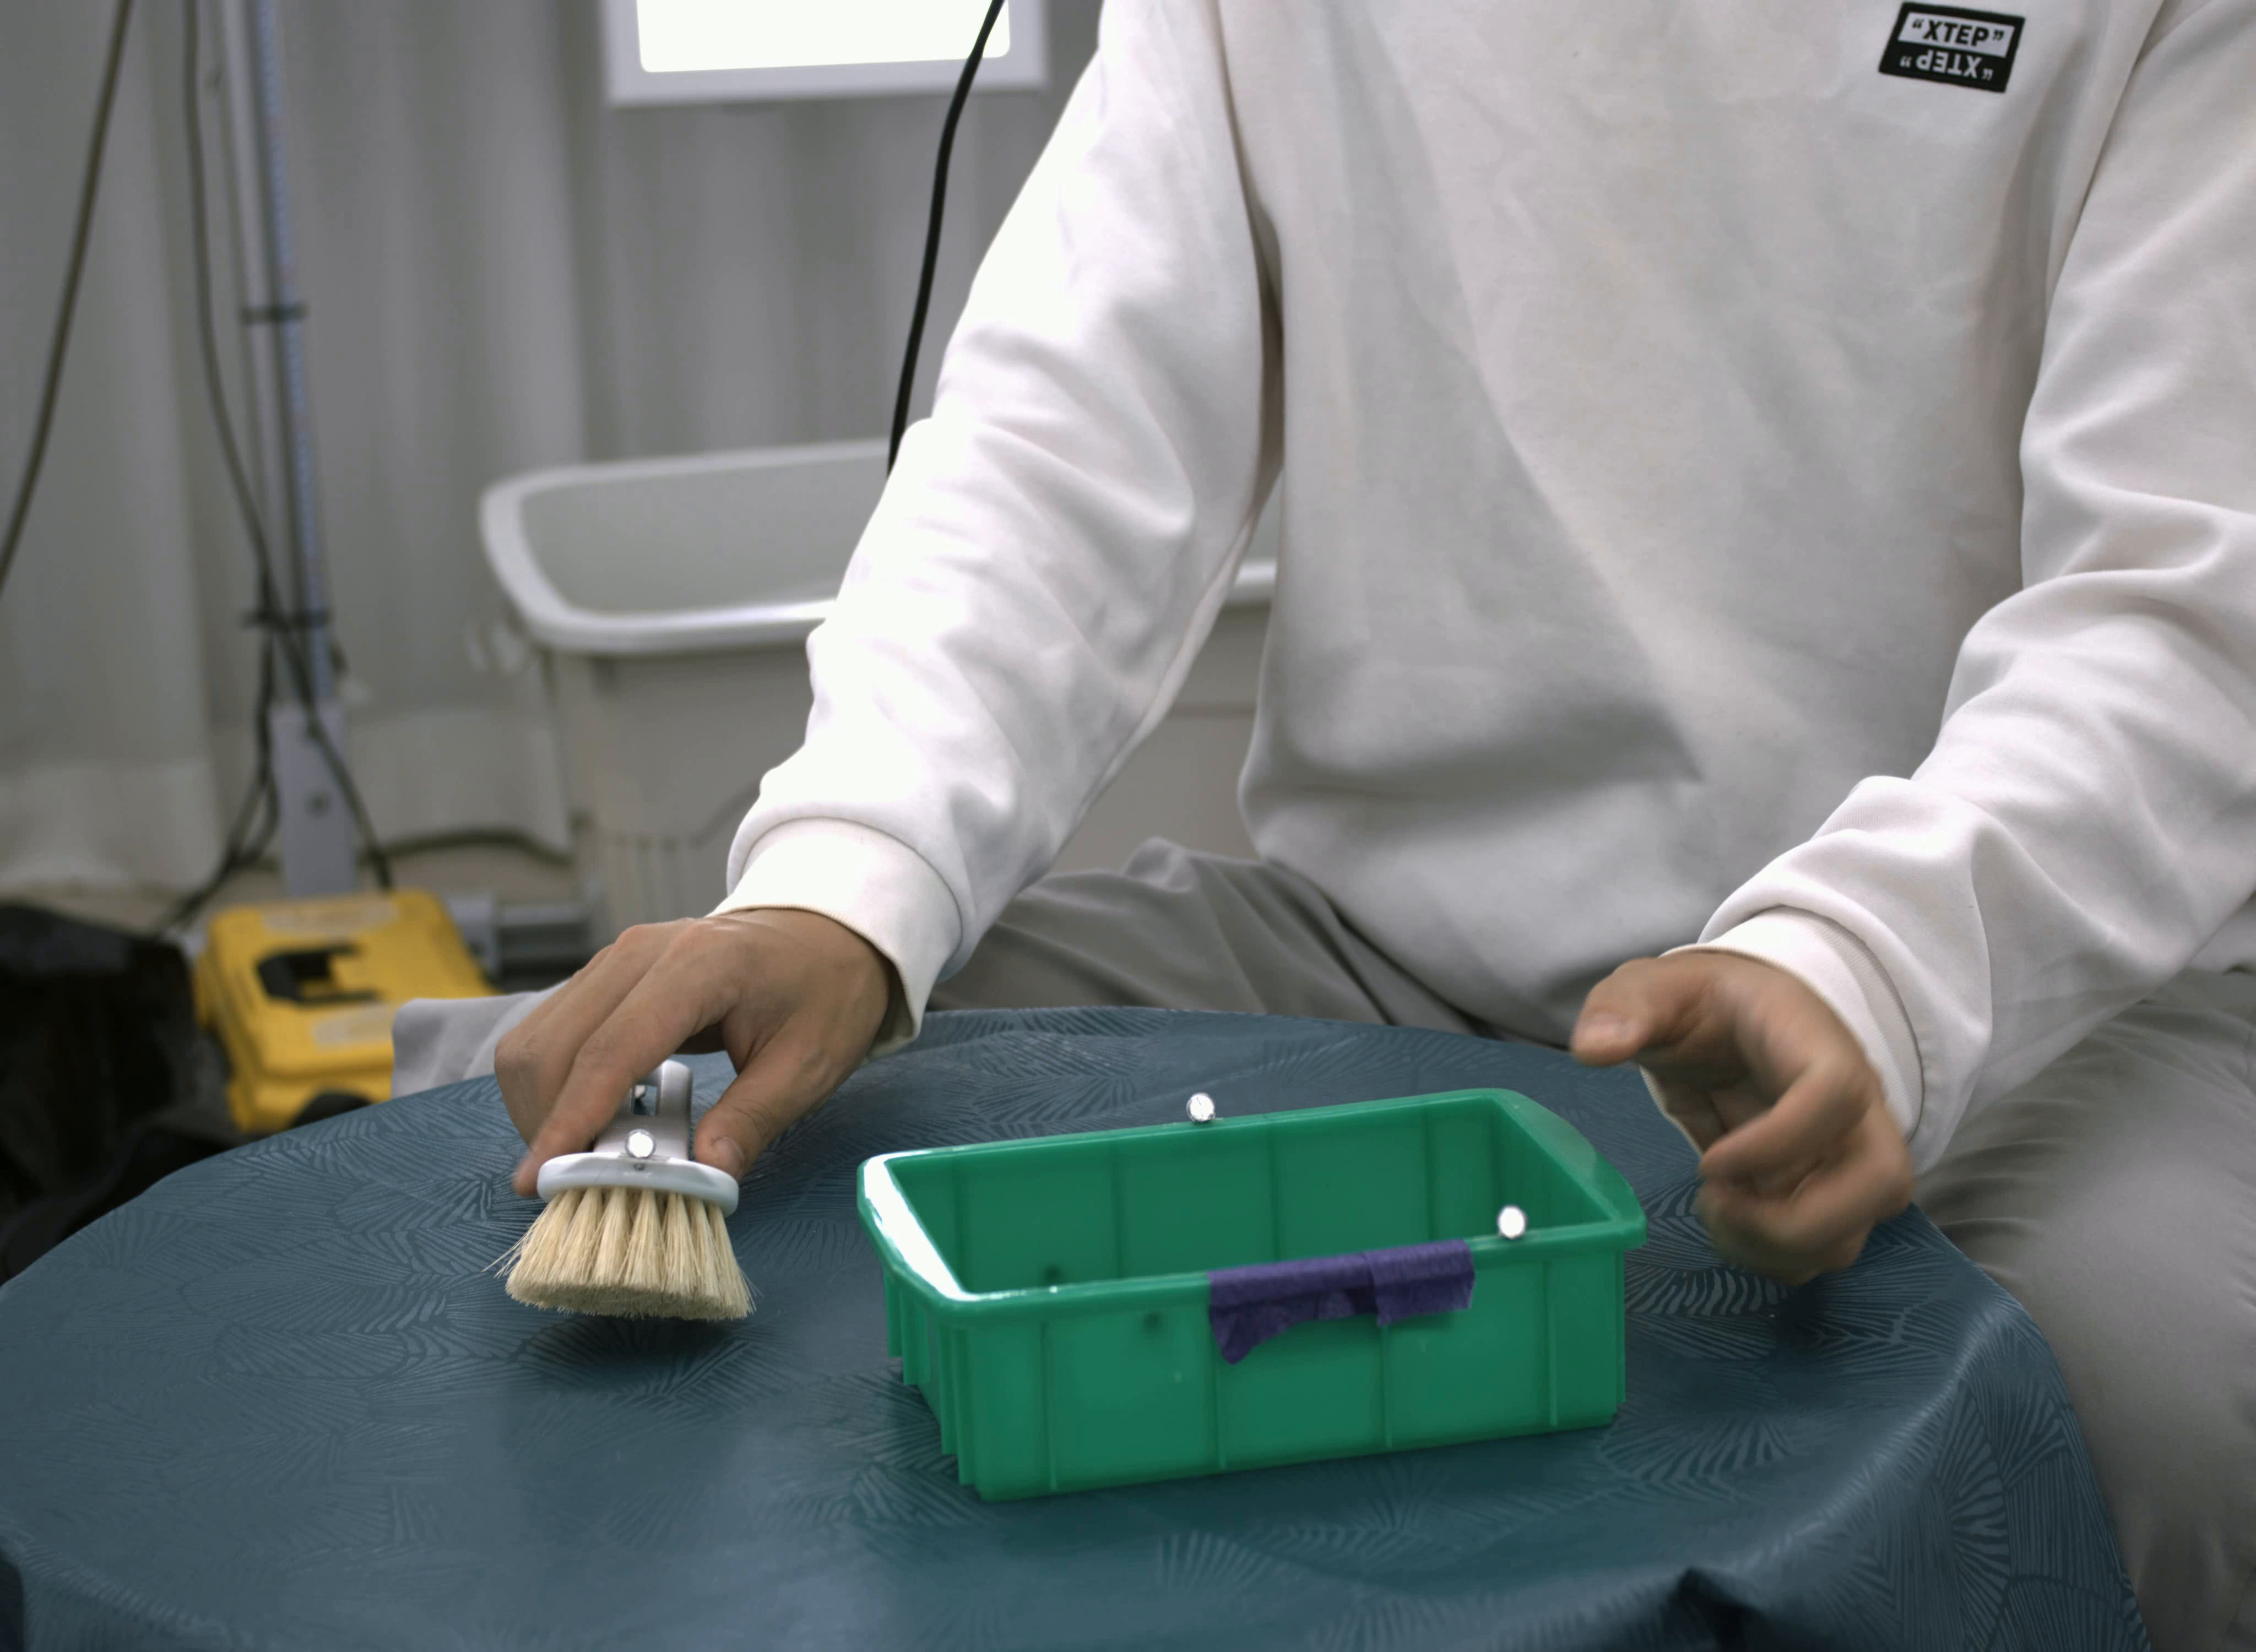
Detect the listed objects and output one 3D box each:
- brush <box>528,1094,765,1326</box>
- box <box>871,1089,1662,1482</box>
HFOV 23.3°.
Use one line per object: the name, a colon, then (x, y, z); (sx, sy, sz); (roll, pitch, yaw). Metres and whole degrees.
brush: (-0.148, 0.117, 1.704); (0.068, 0.056, 0.266); (17, -2, -5)
box: (0.037, 0.129, 1.537); (0.209, 0.065, 0.140); (-4, 15, -13)
